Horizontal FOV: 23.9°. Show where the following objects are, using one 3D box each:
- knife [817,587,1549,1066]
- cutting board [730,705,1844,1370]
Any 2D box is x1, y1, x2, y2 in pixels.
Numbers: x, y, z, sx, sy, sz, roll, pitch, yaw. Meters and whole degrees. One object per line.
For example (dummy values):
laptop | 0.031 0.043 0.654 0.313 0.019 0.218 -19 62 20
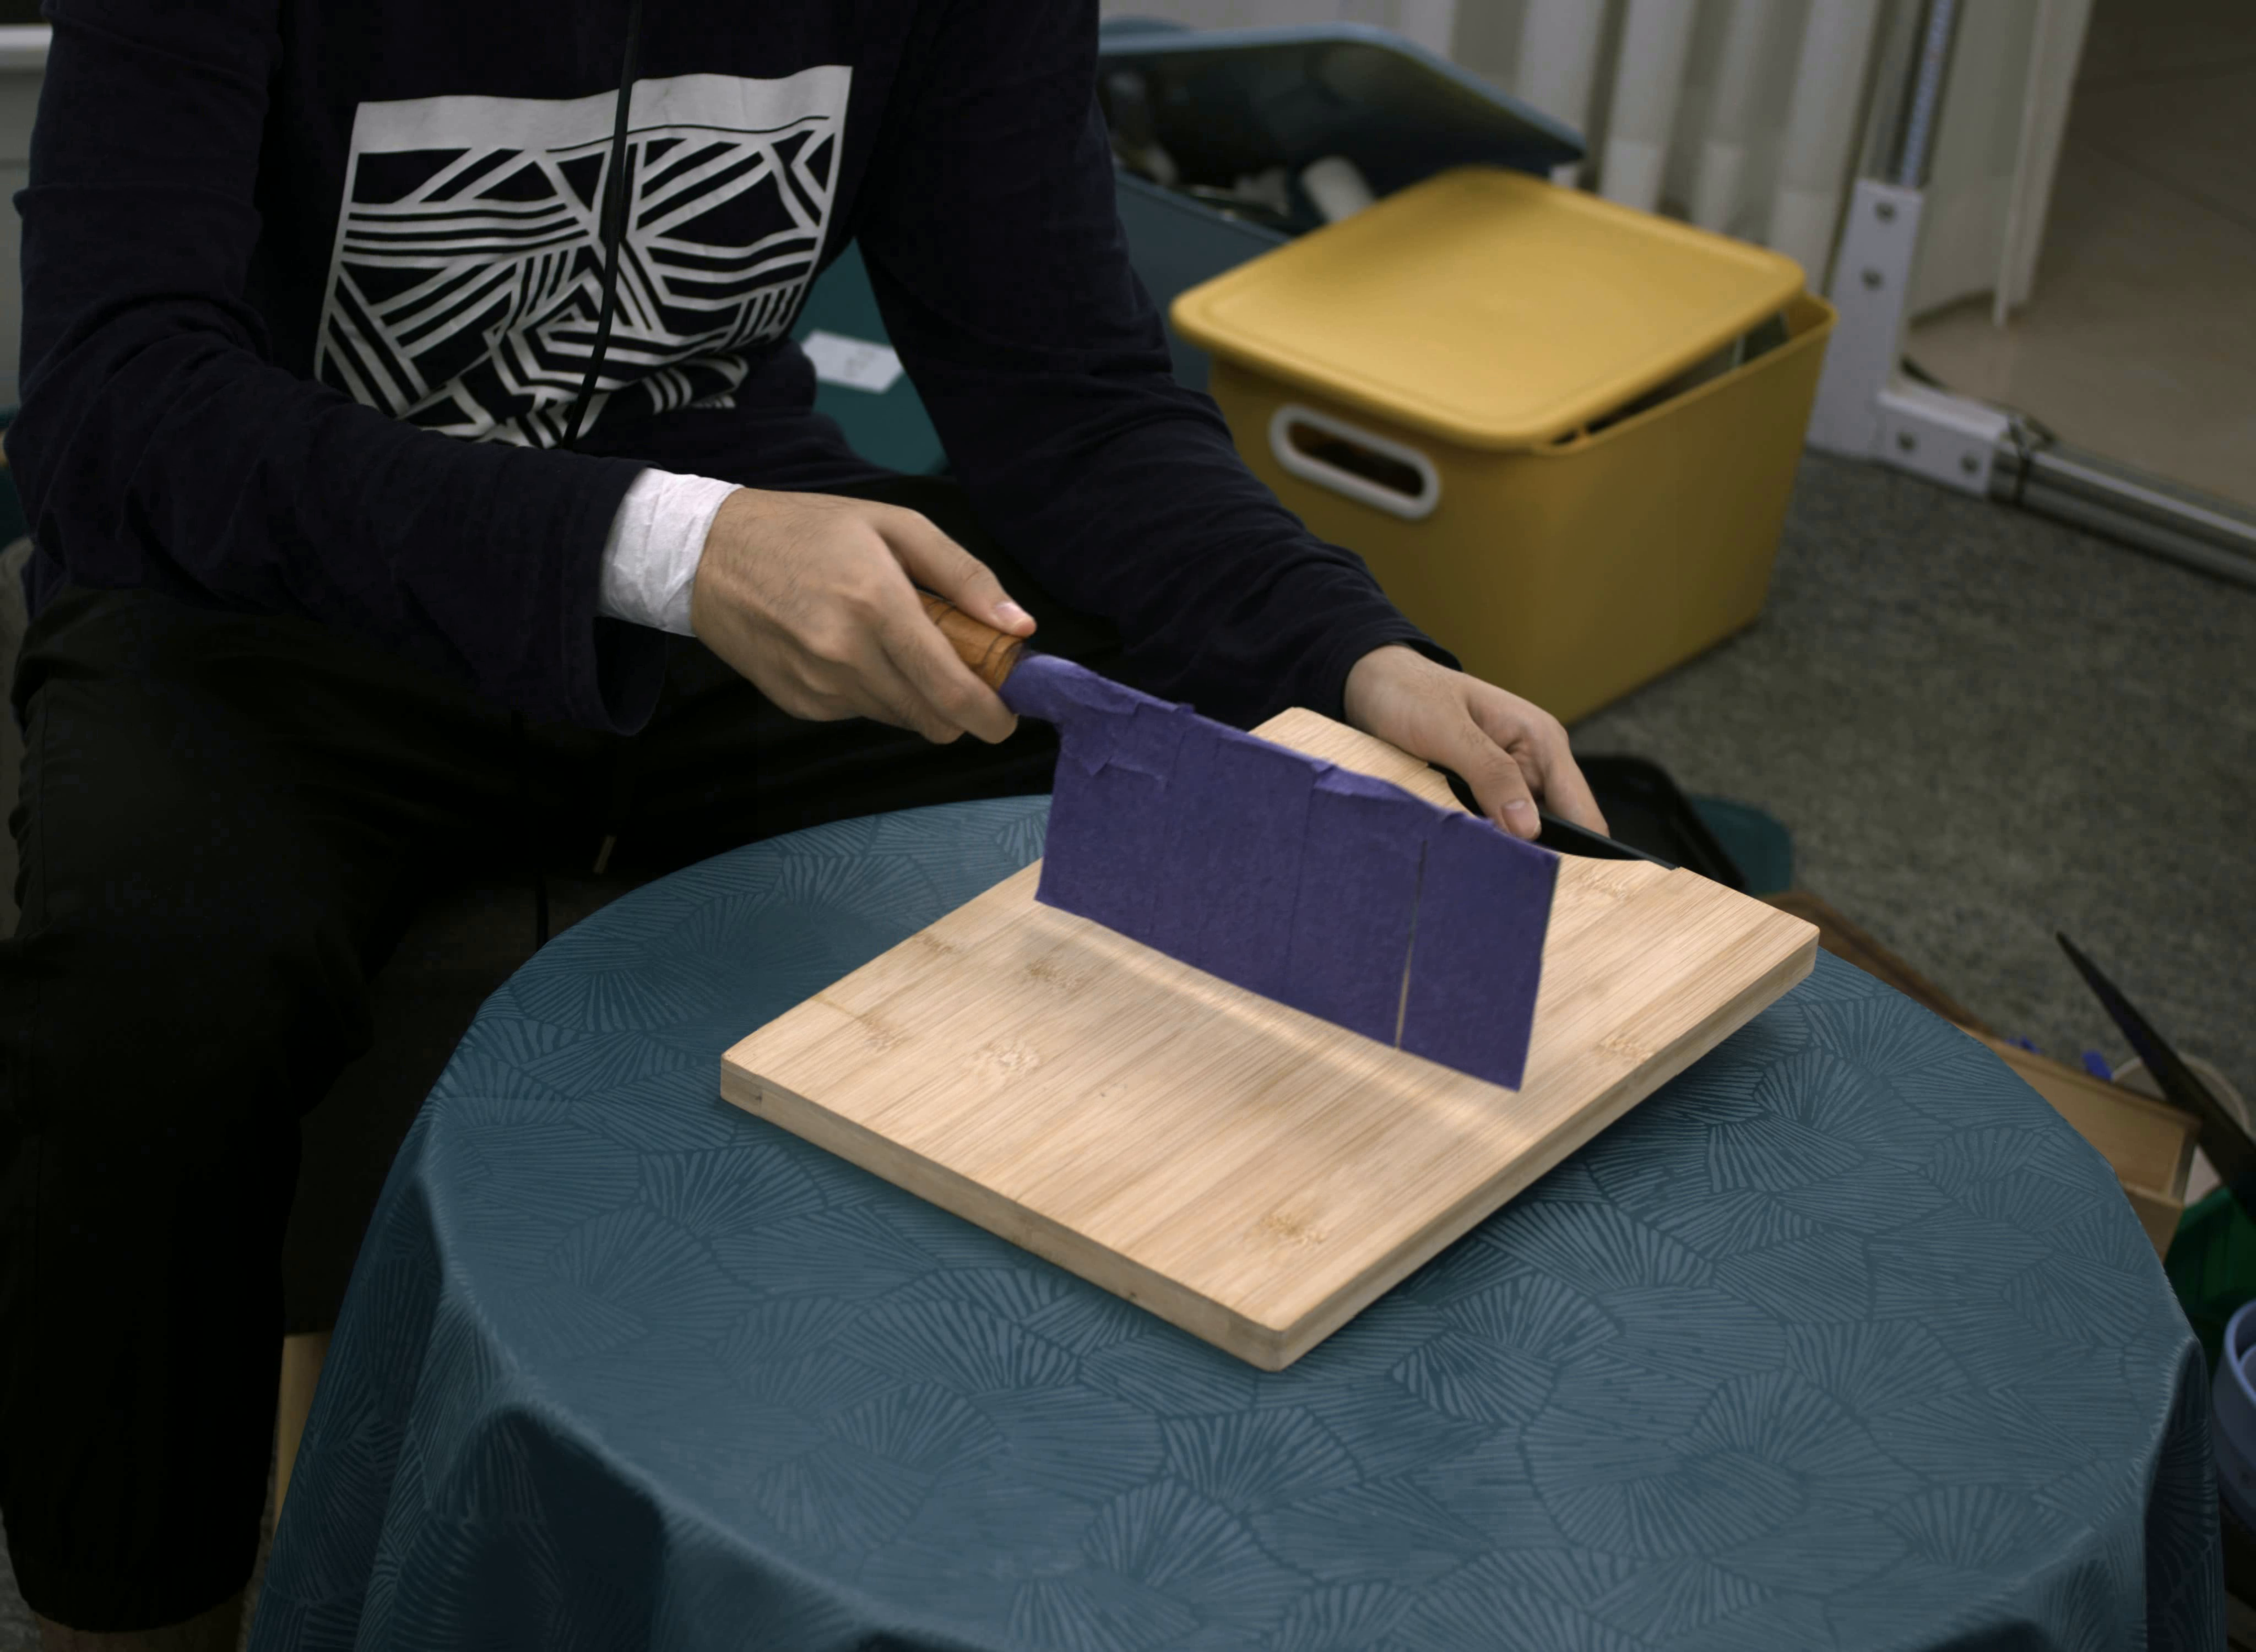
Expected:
knife | 0.011 0.001 1.864 0.317 0.103 0.032 22 24 35
cutting board | 0.060 0.064 1.890 0.252 0.023 0.348 23 36 30
